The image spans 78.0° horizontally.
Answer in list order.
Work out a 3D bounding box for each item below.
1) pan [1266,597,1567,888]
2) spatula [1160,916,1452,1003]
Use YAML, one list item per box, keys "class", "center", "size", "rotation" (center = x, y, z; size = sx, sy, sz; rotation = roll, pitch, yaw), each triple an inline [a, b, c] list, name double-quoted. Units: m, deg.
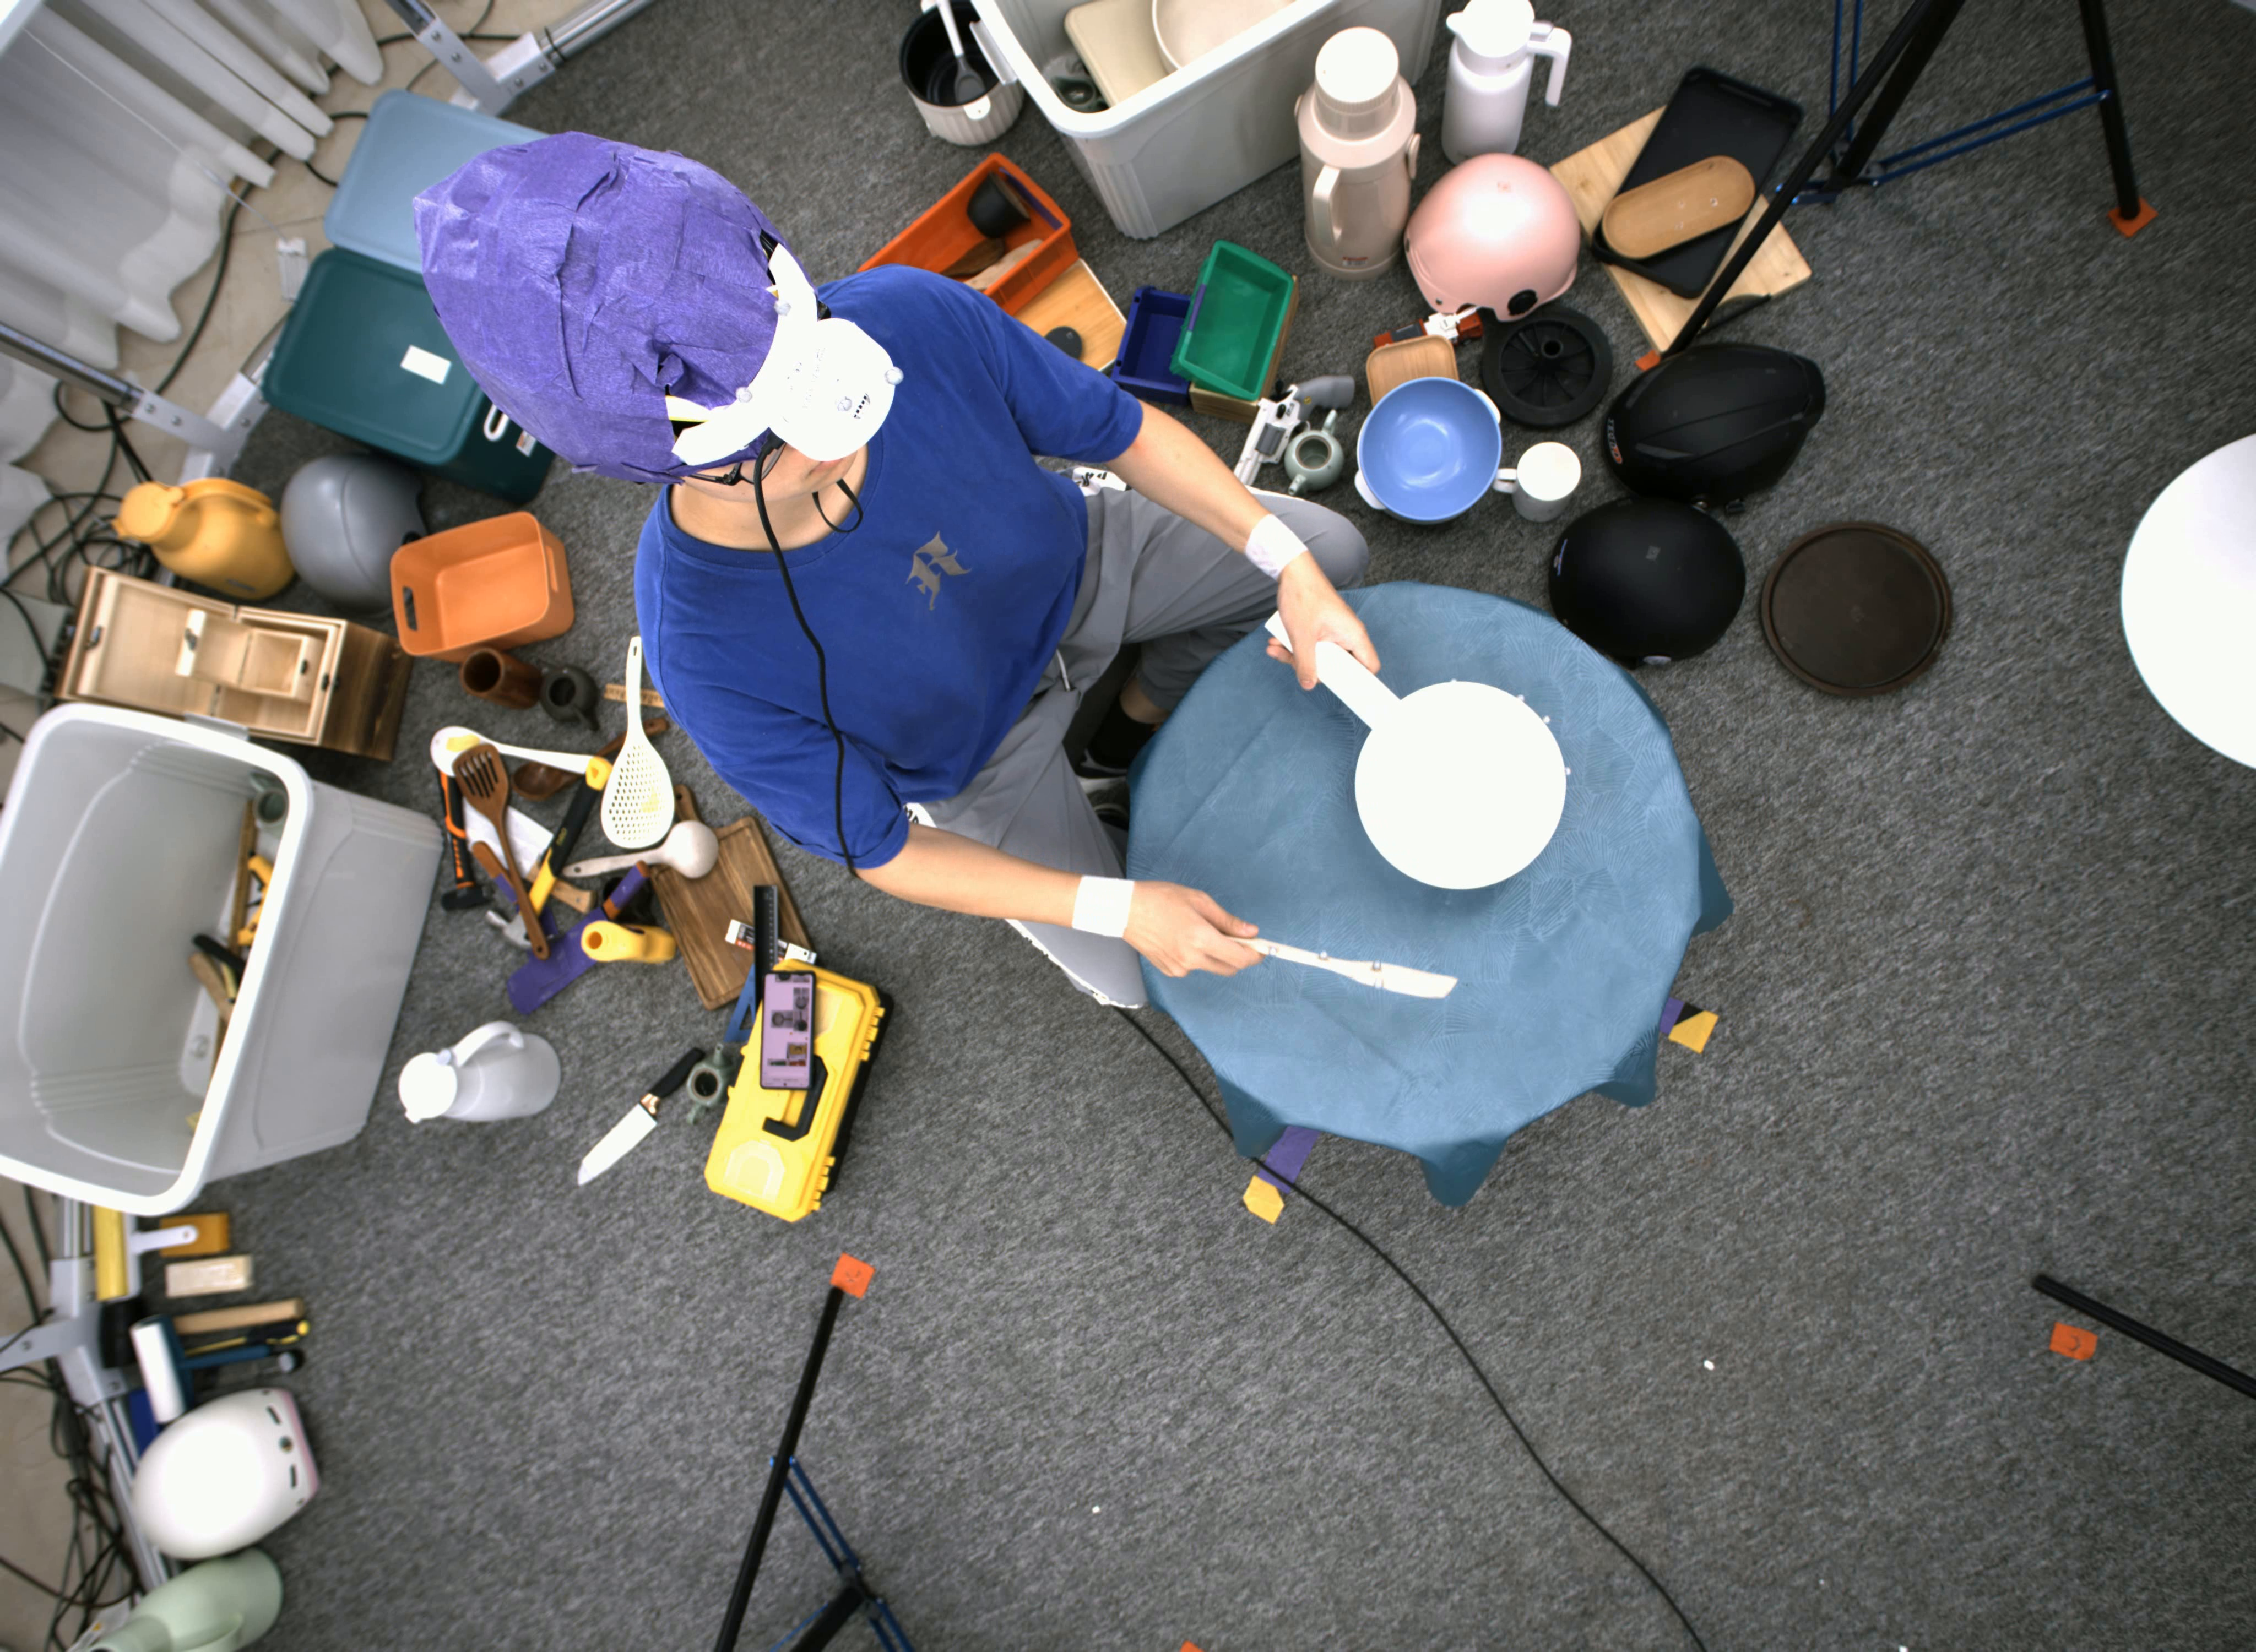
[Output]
- class: "pan"
  center: [0.287, -0.098, 1.395]
  size: [0.353, 0.101, 0.204]
  rotation: [45, 111, 11]
- class: "spatula"
  center: [0.168, 0.127, 1.352]
  size: [0.293, 0.071, 0.011]
  rotation: [13, 105, 20]
